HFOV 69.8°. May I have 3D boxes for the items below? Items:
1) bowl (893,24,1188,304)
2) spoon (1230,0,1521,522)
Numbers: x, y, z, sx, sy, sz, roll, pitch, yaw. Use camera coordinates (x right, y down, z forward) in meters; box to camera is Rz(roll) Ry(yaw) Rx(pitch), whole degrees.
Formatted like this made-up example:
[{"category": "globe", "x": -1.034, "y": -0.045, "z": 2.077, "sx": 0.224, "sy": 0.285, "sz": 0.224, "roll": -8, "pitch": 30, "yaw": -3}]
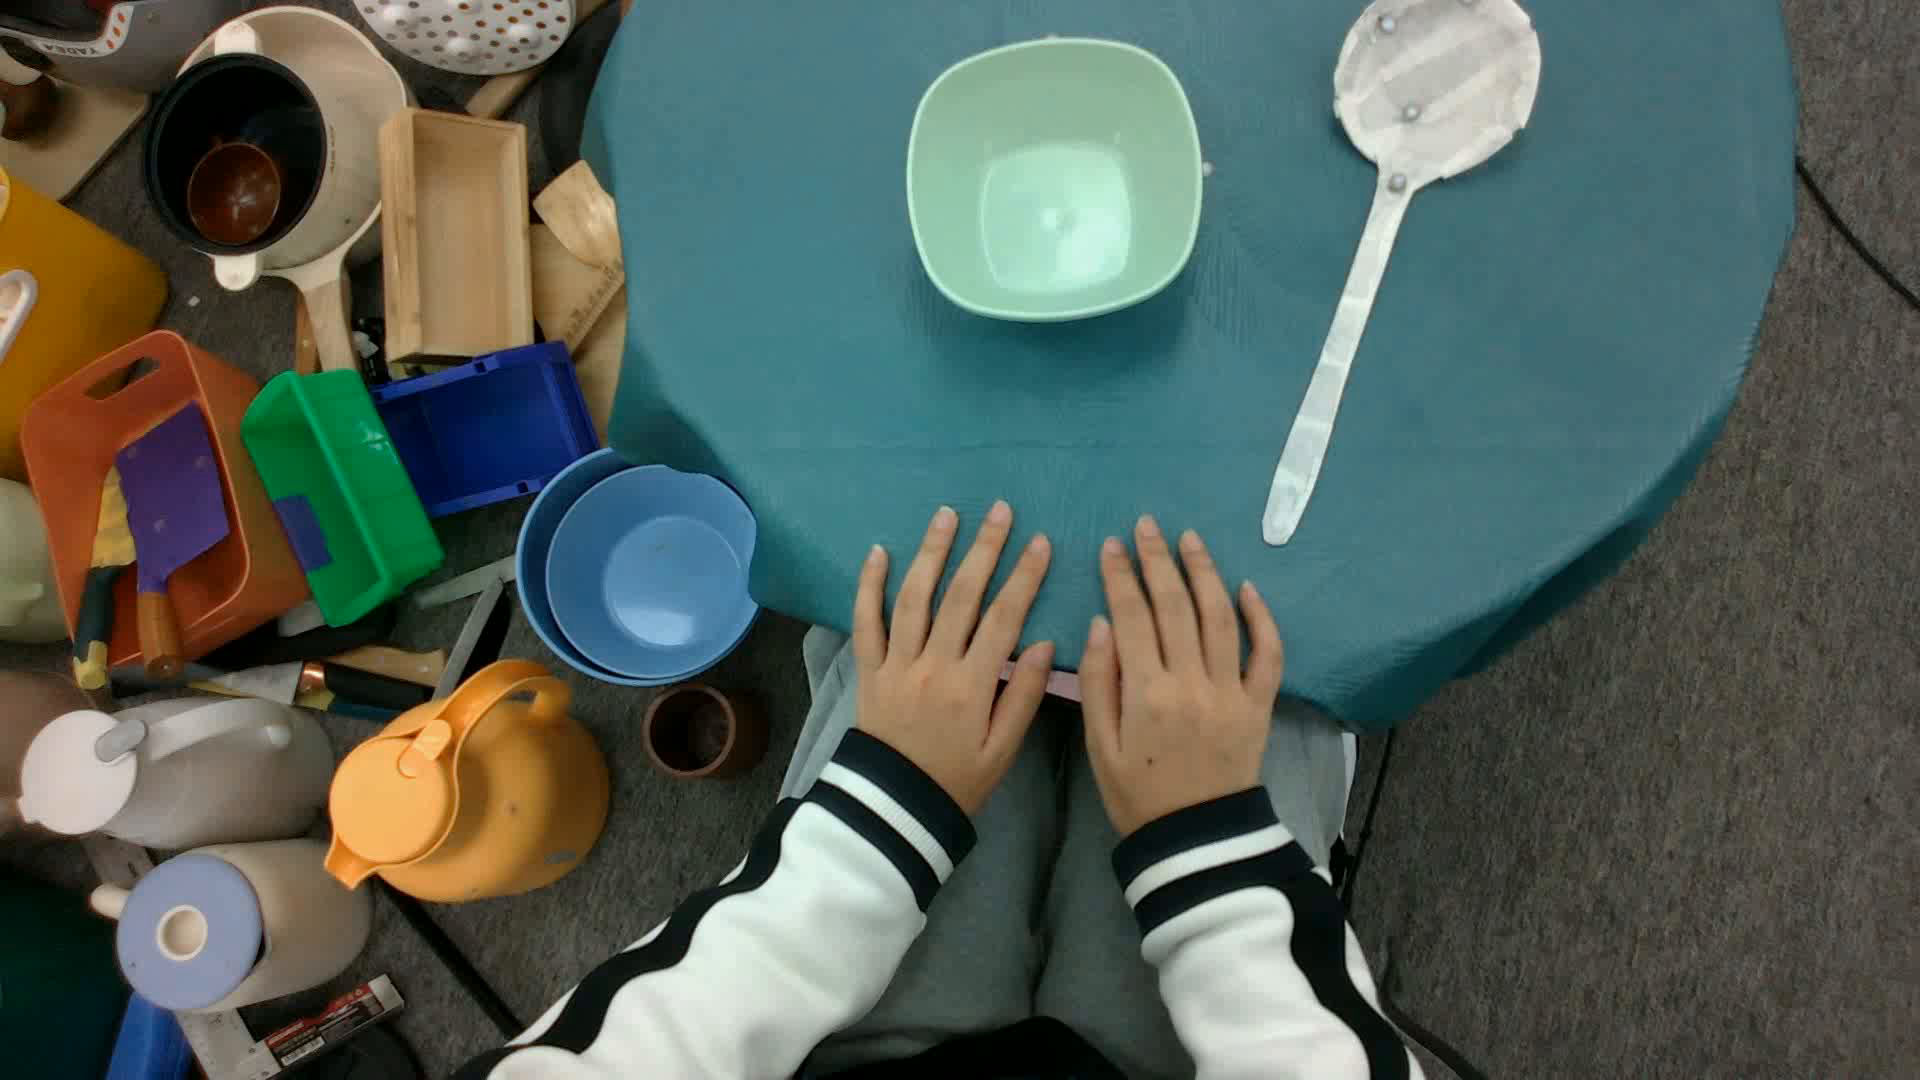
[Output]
[{"category": "bowl", "x": 0.039, "y": -0.175, "z": 0.674, "sx": 0.151, "sy": 0.058, "sz": 0.151, "roll": -1, "pitch": 80, "yaw": 5}, {"category": "spoon", "x": 0.179, "y": -0.142, "z": 0.654, "sx": 0.100, "sy": 0.059, "sz": 0.278, "roll": 21, "pitch": 83, "yaw": 13}]
